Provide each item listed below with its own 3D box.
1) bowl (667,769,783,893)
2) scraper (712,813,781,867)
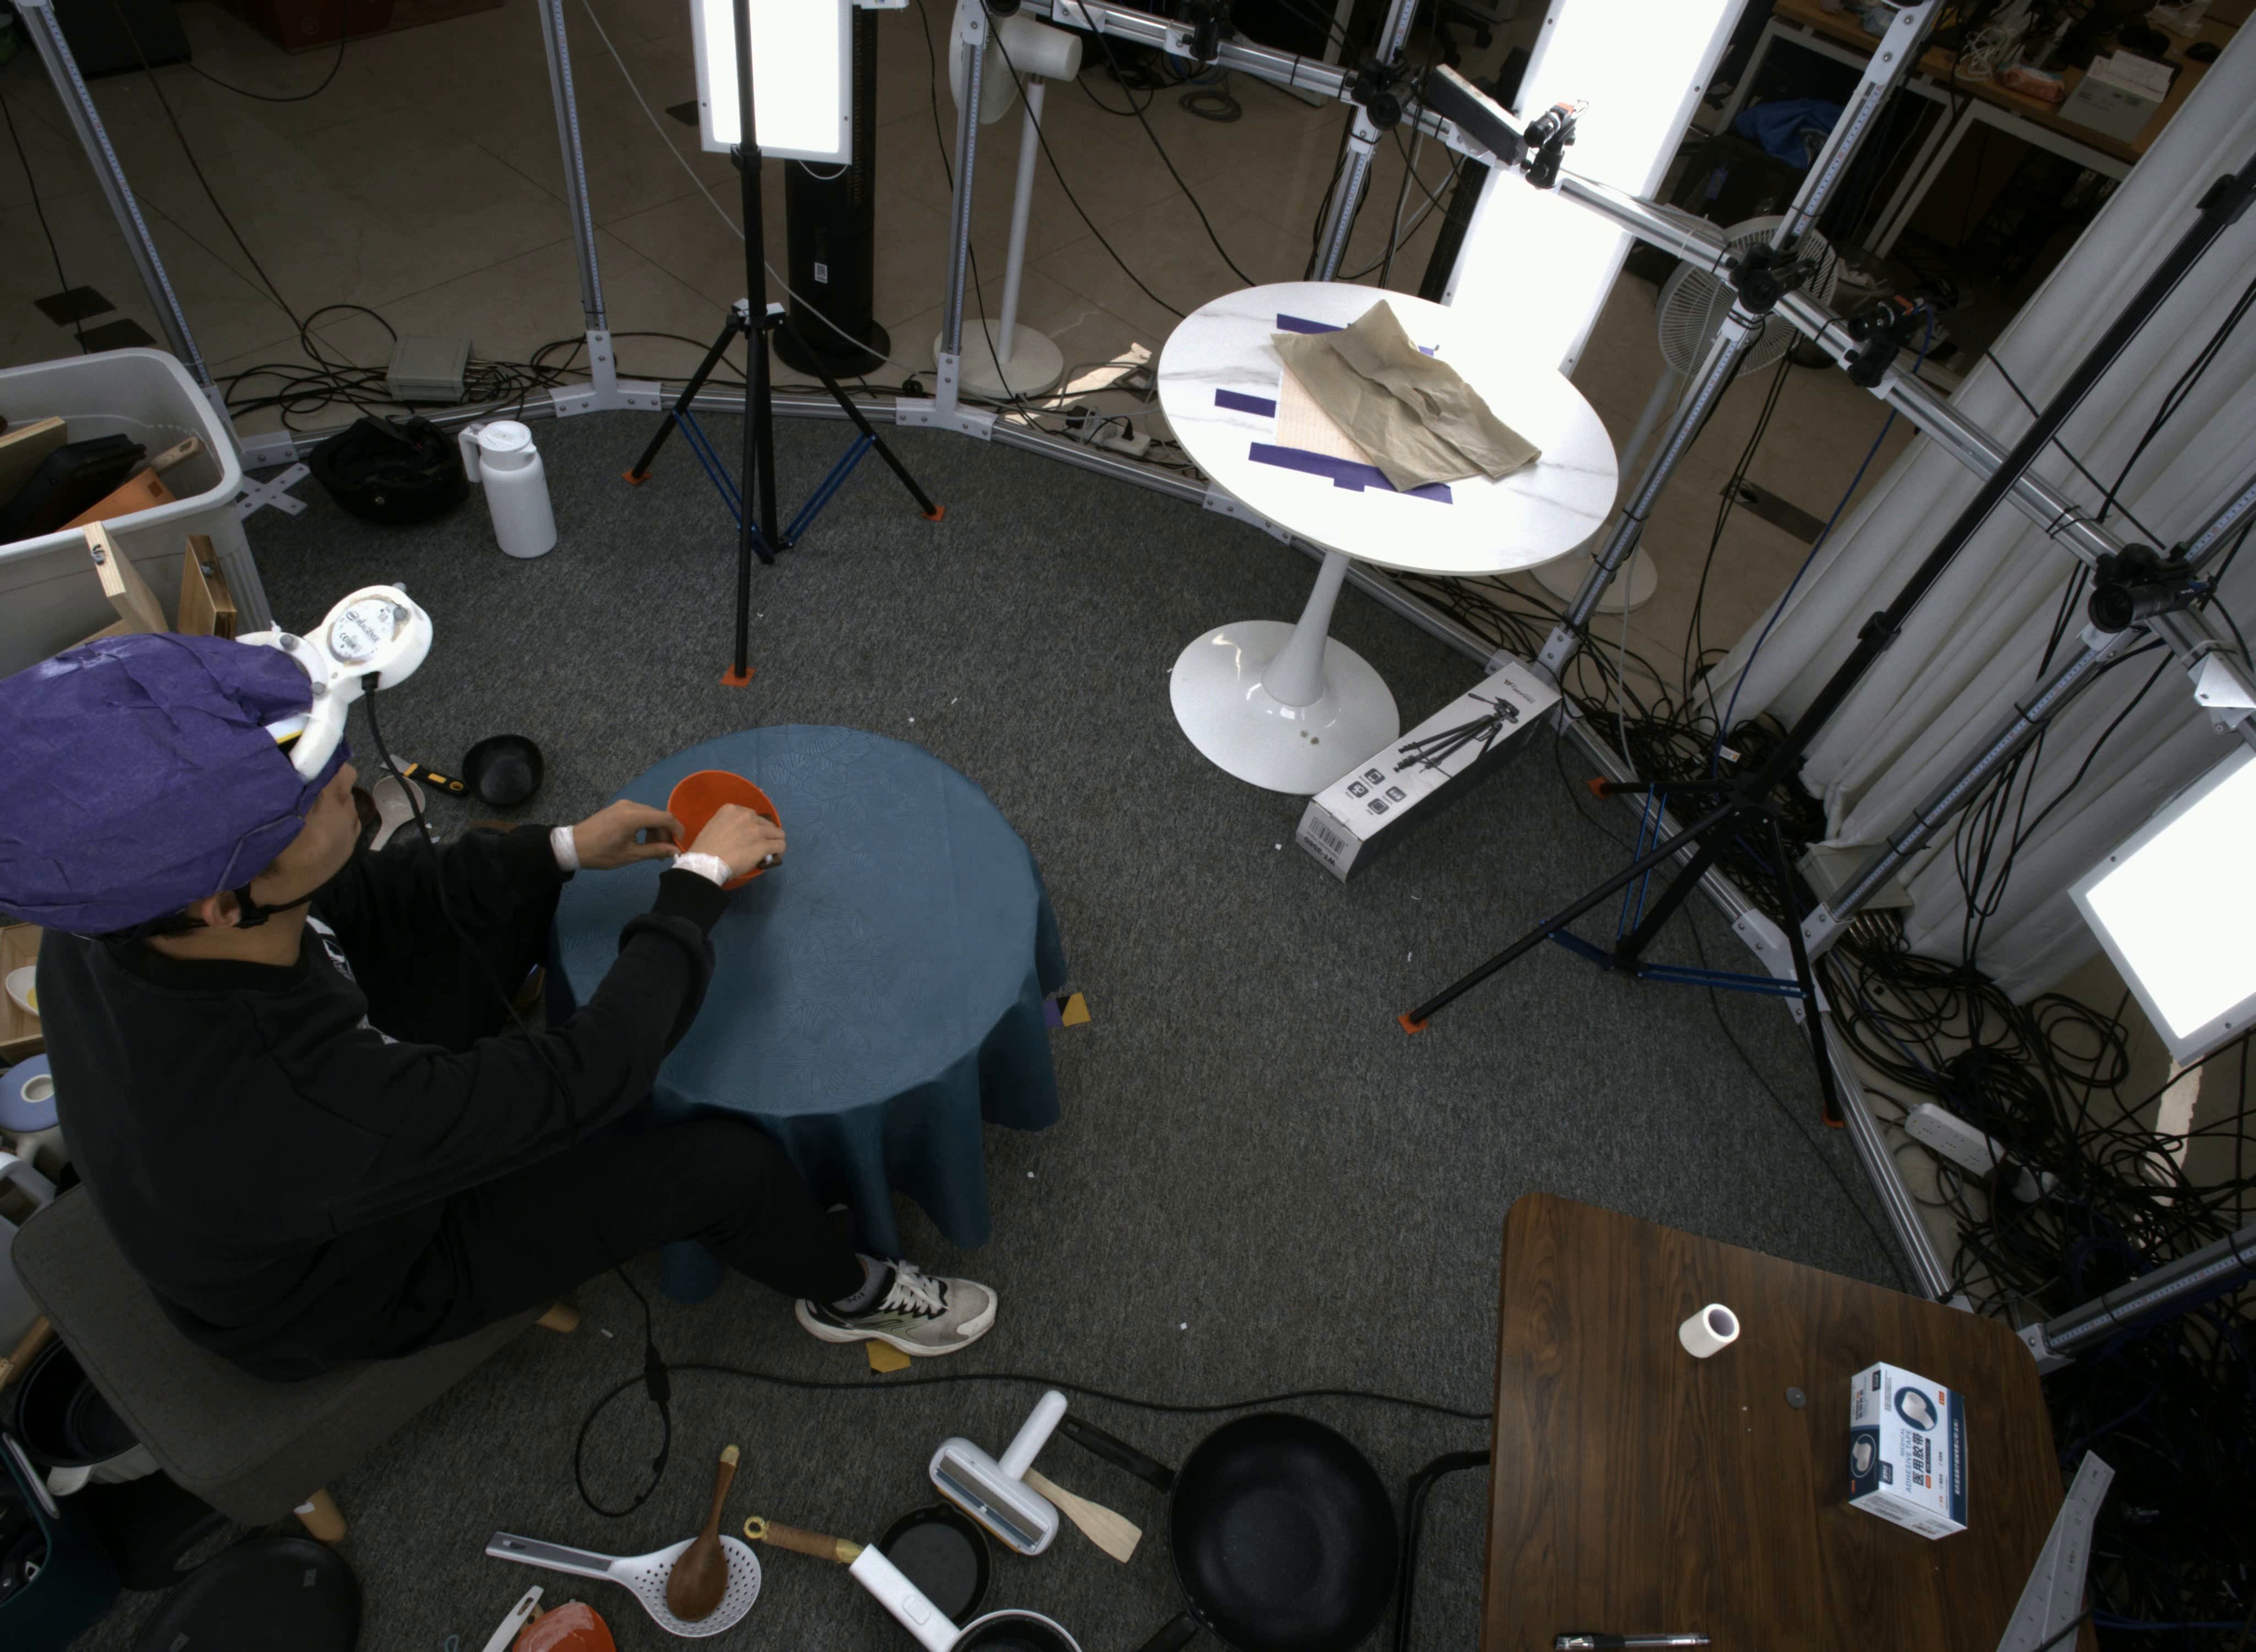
[{"bbox_3d":[-0.512,0.017,1.614,0.150,0.105,0.145,22,44,-21],"label":"bowl"},{"bbox_3d":[-0.448,0.017,1.550,0.076,0.011,0.204,-16,20,-22],"label":"scraper"}]
